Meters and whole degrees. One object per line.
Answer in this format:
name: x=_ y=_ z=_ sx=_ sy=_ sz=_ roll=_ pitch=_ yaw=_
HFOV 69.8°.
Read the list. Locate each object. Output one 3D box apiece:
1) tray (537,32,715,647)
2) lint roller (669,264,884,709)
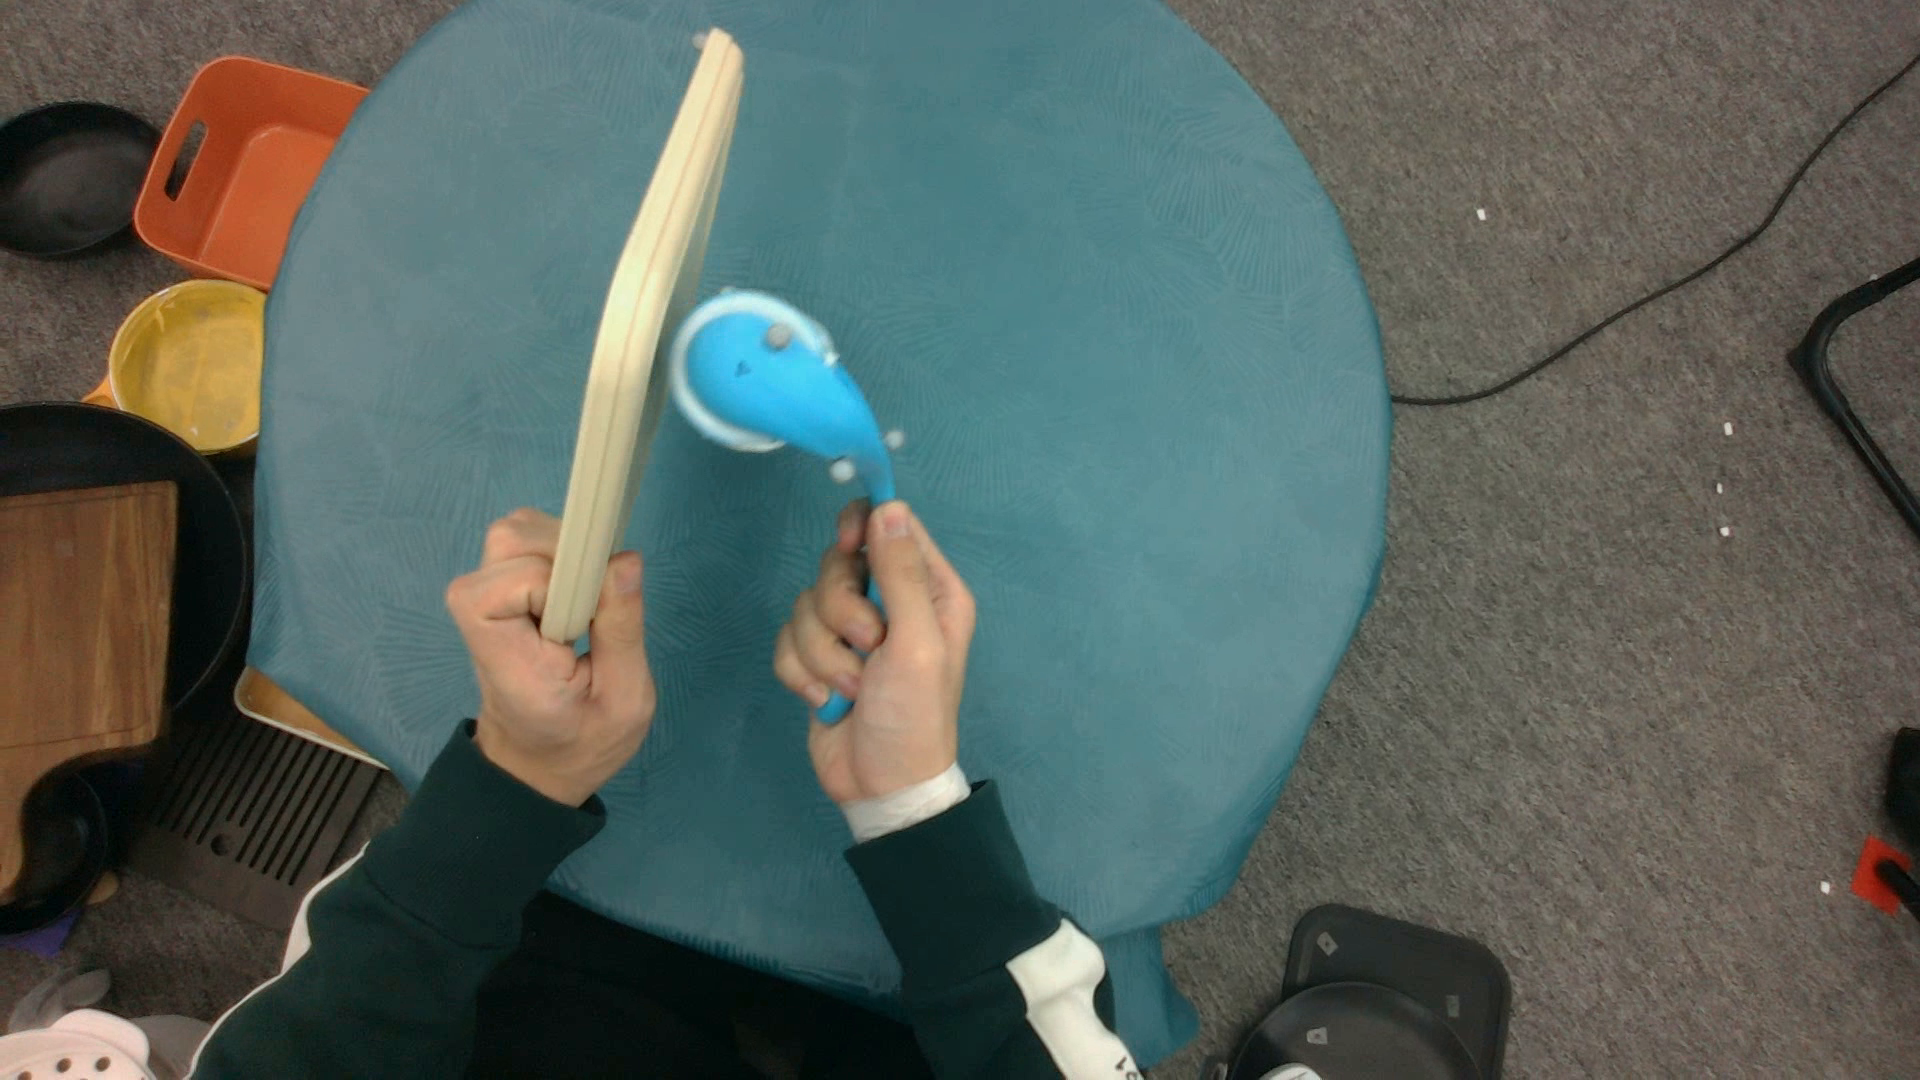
tray: x=-0.129 y=-0.085 z=0.549 sx=0.017 sy=0.170 sz=0.241 roll=12 pitch=40 yaw=-12
lint roller: x=-0.062 y=-0.024 z=0.564 sx=0.068 sy=0.229 sz=0.180 roll=-18 pitch=102 yaw=-4
